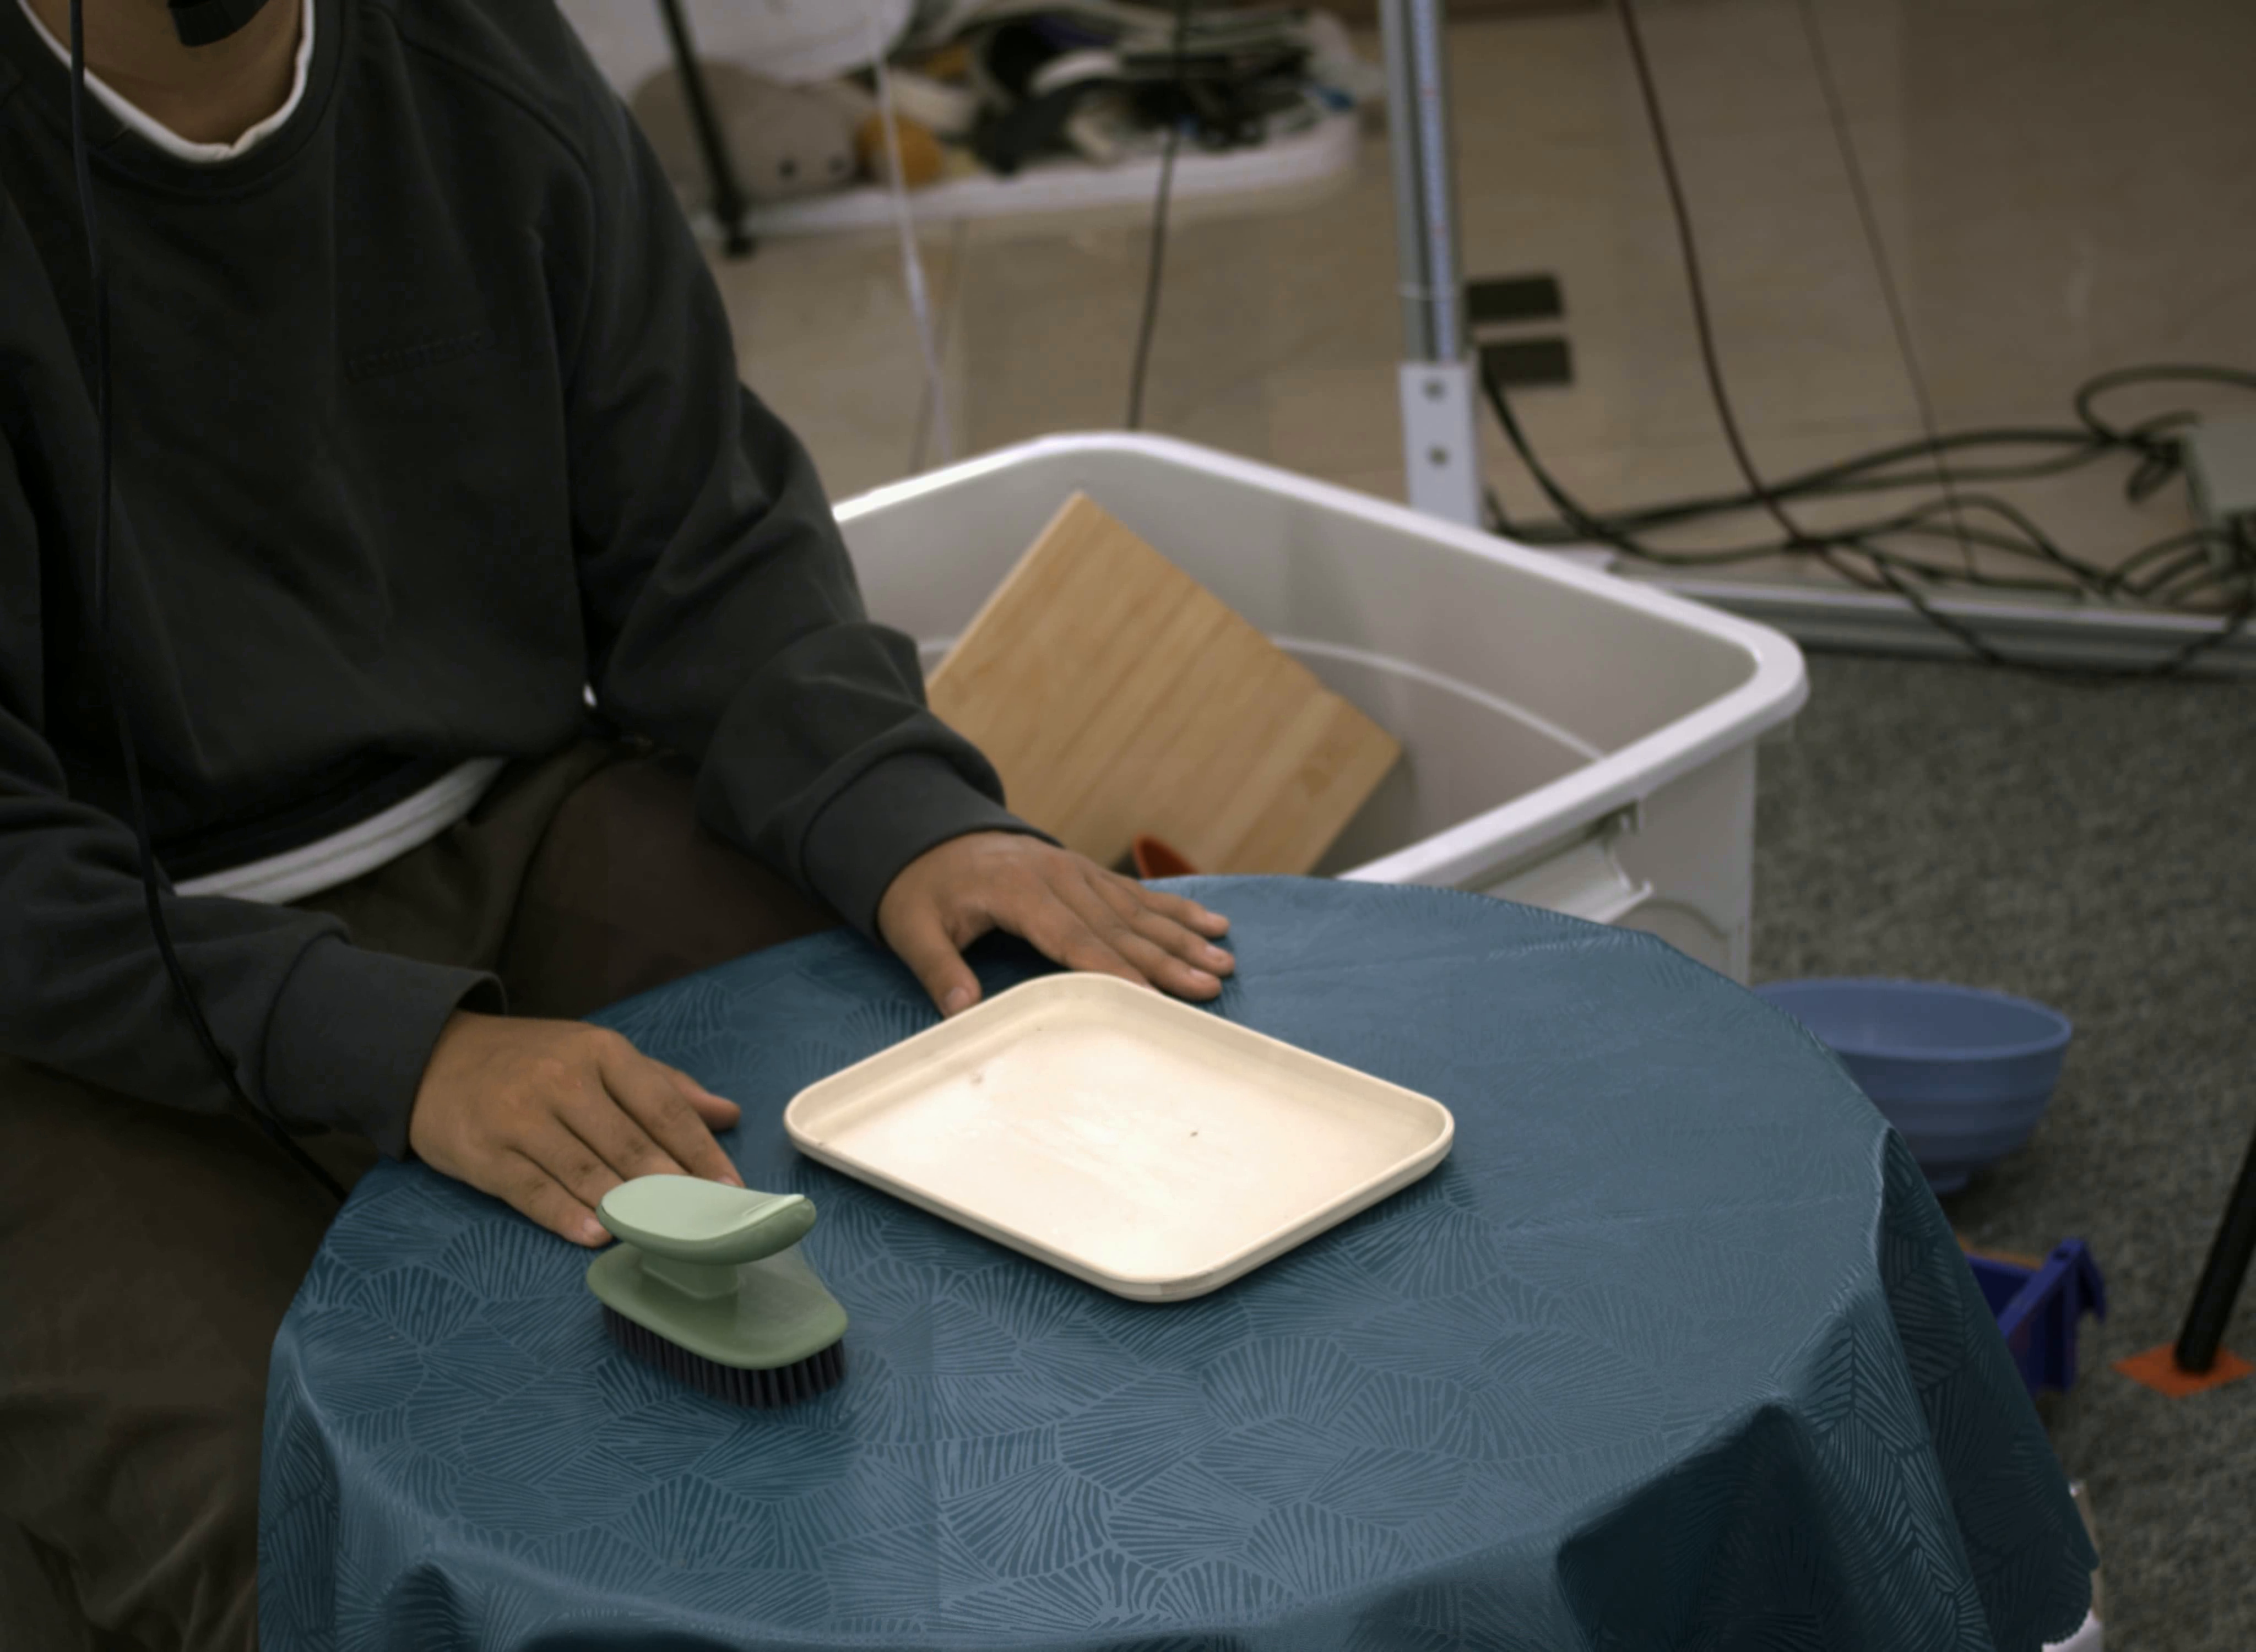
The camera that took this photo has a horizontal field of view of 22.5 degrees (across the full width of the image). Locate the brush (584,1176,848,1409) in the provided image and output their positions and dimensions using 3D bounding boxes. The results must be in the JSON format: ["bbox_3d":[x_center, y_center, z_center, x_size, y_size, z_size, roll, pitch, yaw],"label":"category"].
[{"bbox_3d":[-0.149,0.167,2.060,0.059,0.076,0.122,-24,16,-35],"label":"brush"}]

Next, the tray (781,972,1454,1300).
[{"bbox_3d":[-0.005,0.118,2.174,0.170,0.018,0.238,-25,30,-36],"label":"tray"}]
